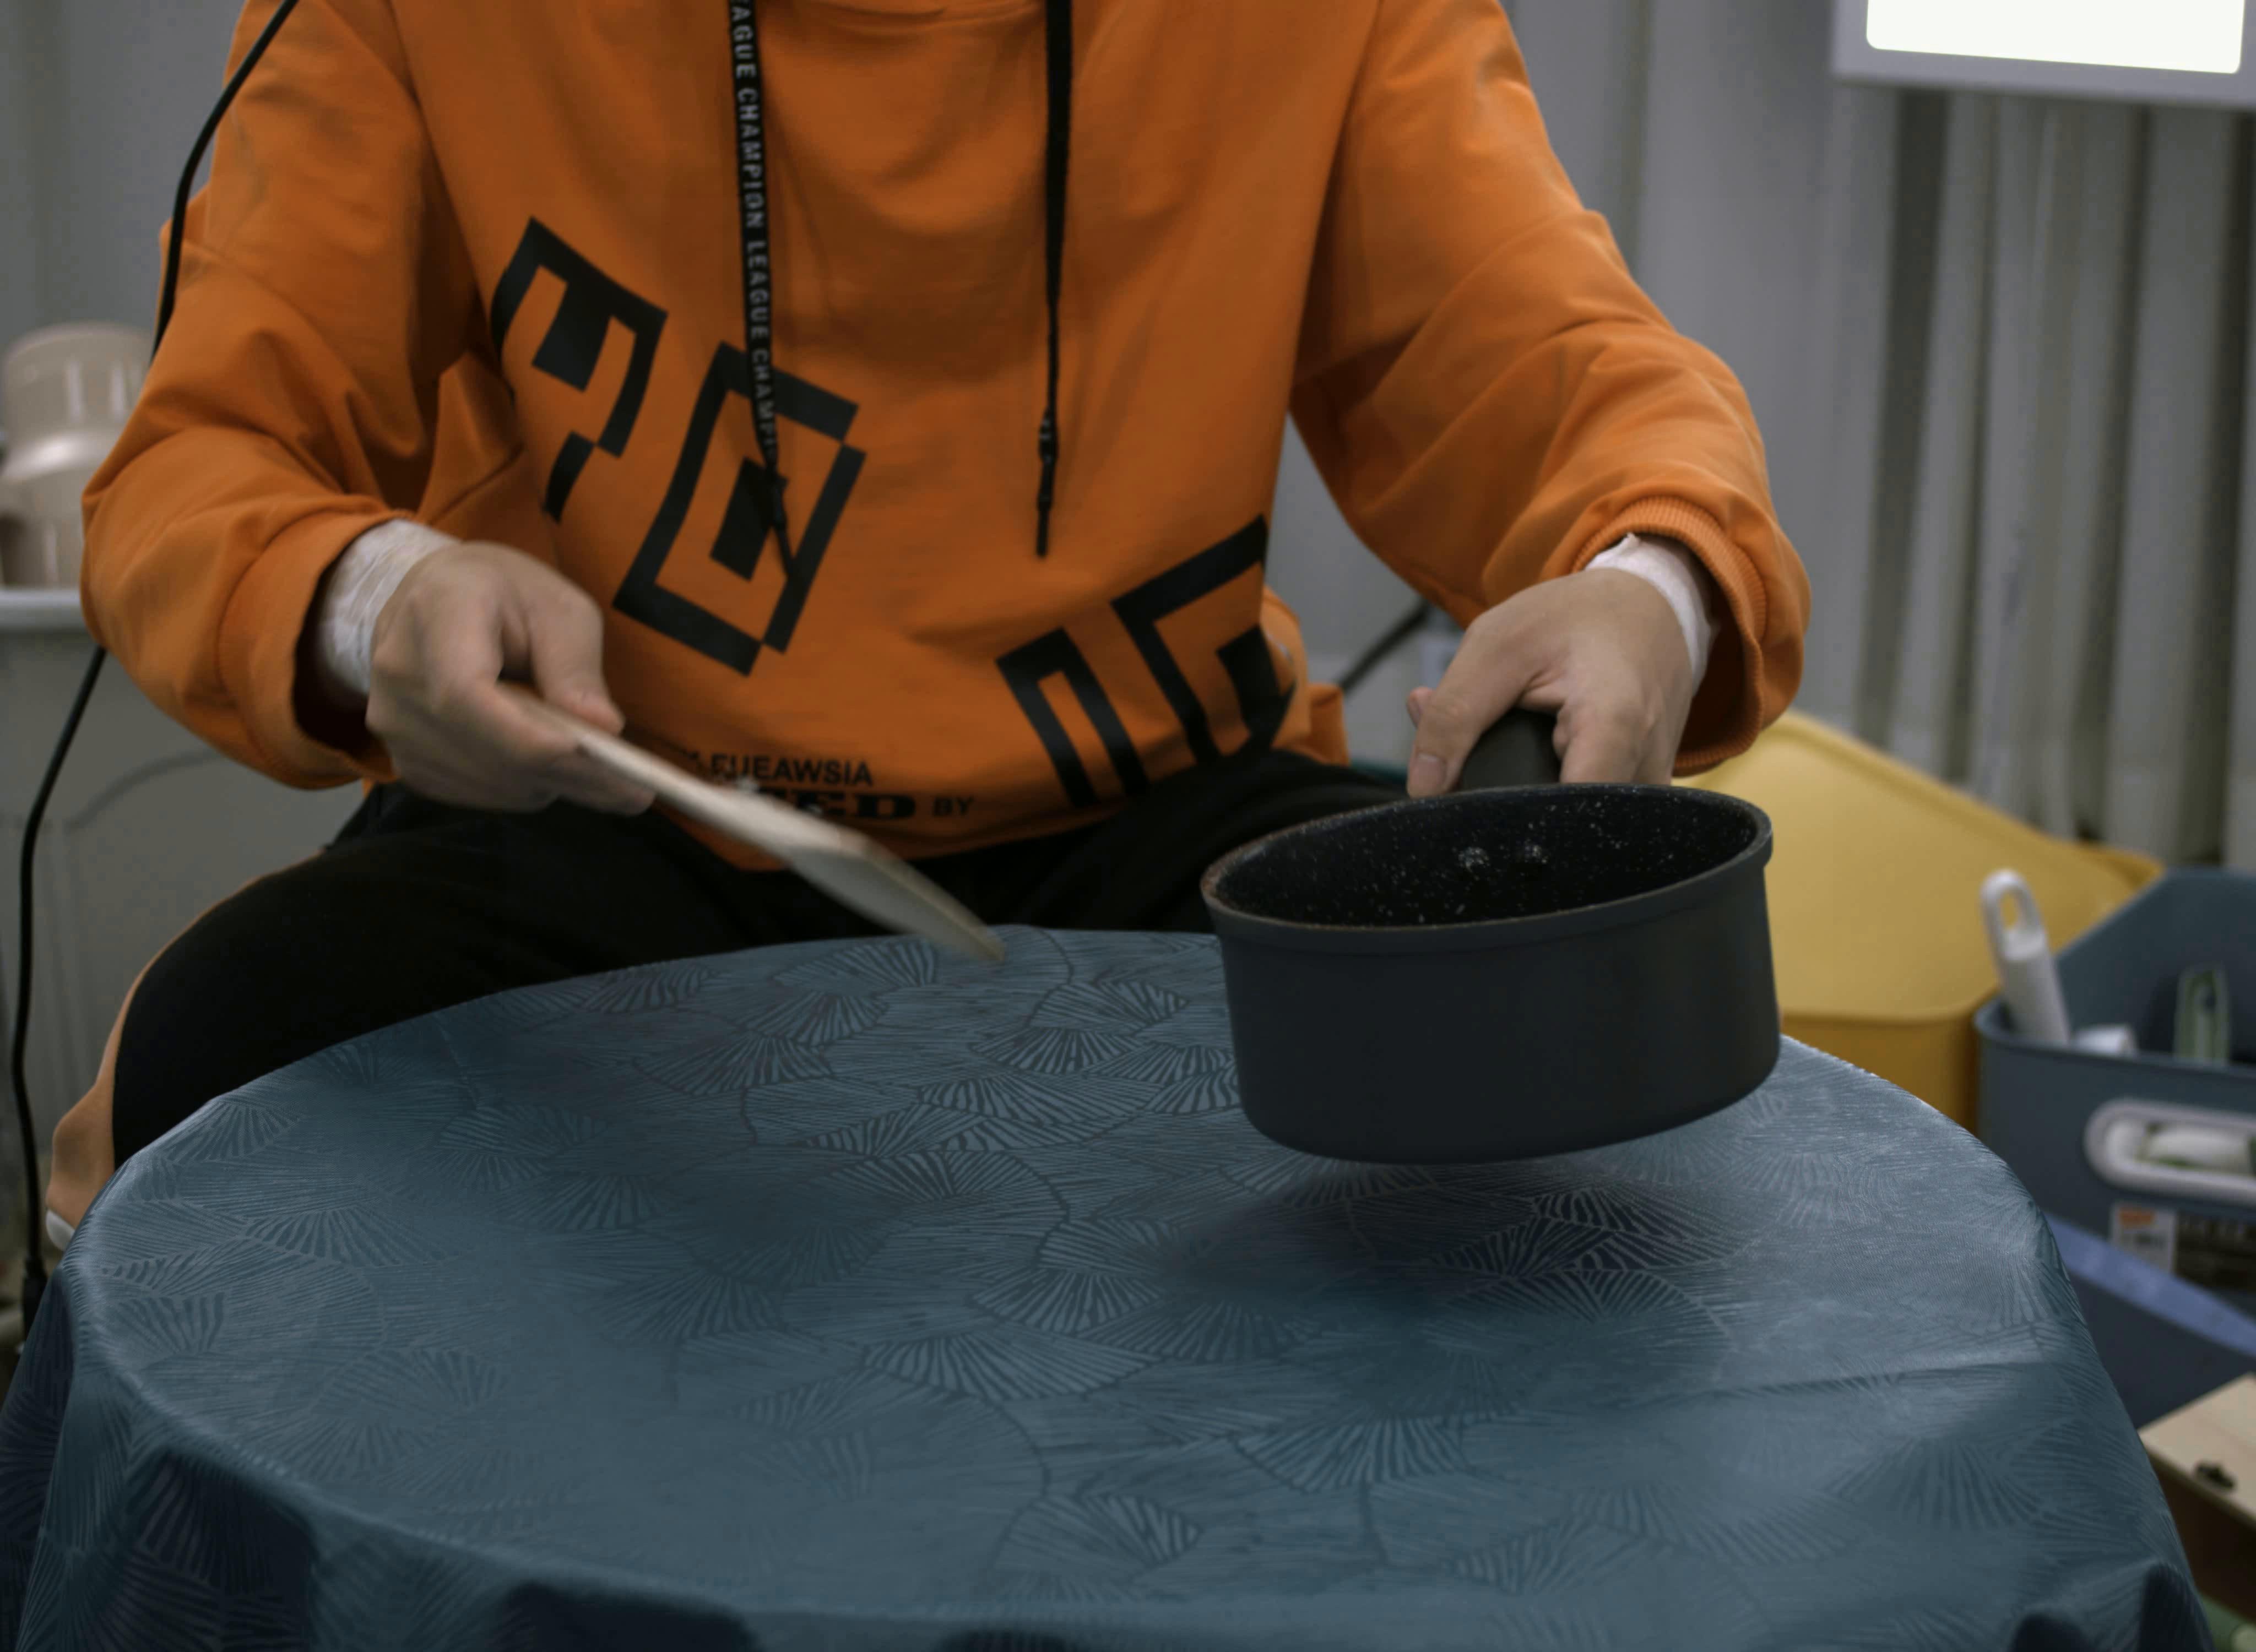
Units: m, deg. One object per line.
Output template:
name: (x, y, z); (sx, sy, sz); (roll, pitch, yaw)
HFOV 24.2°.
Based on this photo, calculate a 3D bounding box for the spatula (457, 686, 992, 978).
spatula: (-0.142, -0.005, 1.668); (0.073, 0.010, 0.289); (34, -6, -37)

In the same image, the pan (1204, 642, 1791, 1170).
pan: (0.123, 0.021, 1.648); (0.171, 0.087, 0.328); (-5, 14, 10)
